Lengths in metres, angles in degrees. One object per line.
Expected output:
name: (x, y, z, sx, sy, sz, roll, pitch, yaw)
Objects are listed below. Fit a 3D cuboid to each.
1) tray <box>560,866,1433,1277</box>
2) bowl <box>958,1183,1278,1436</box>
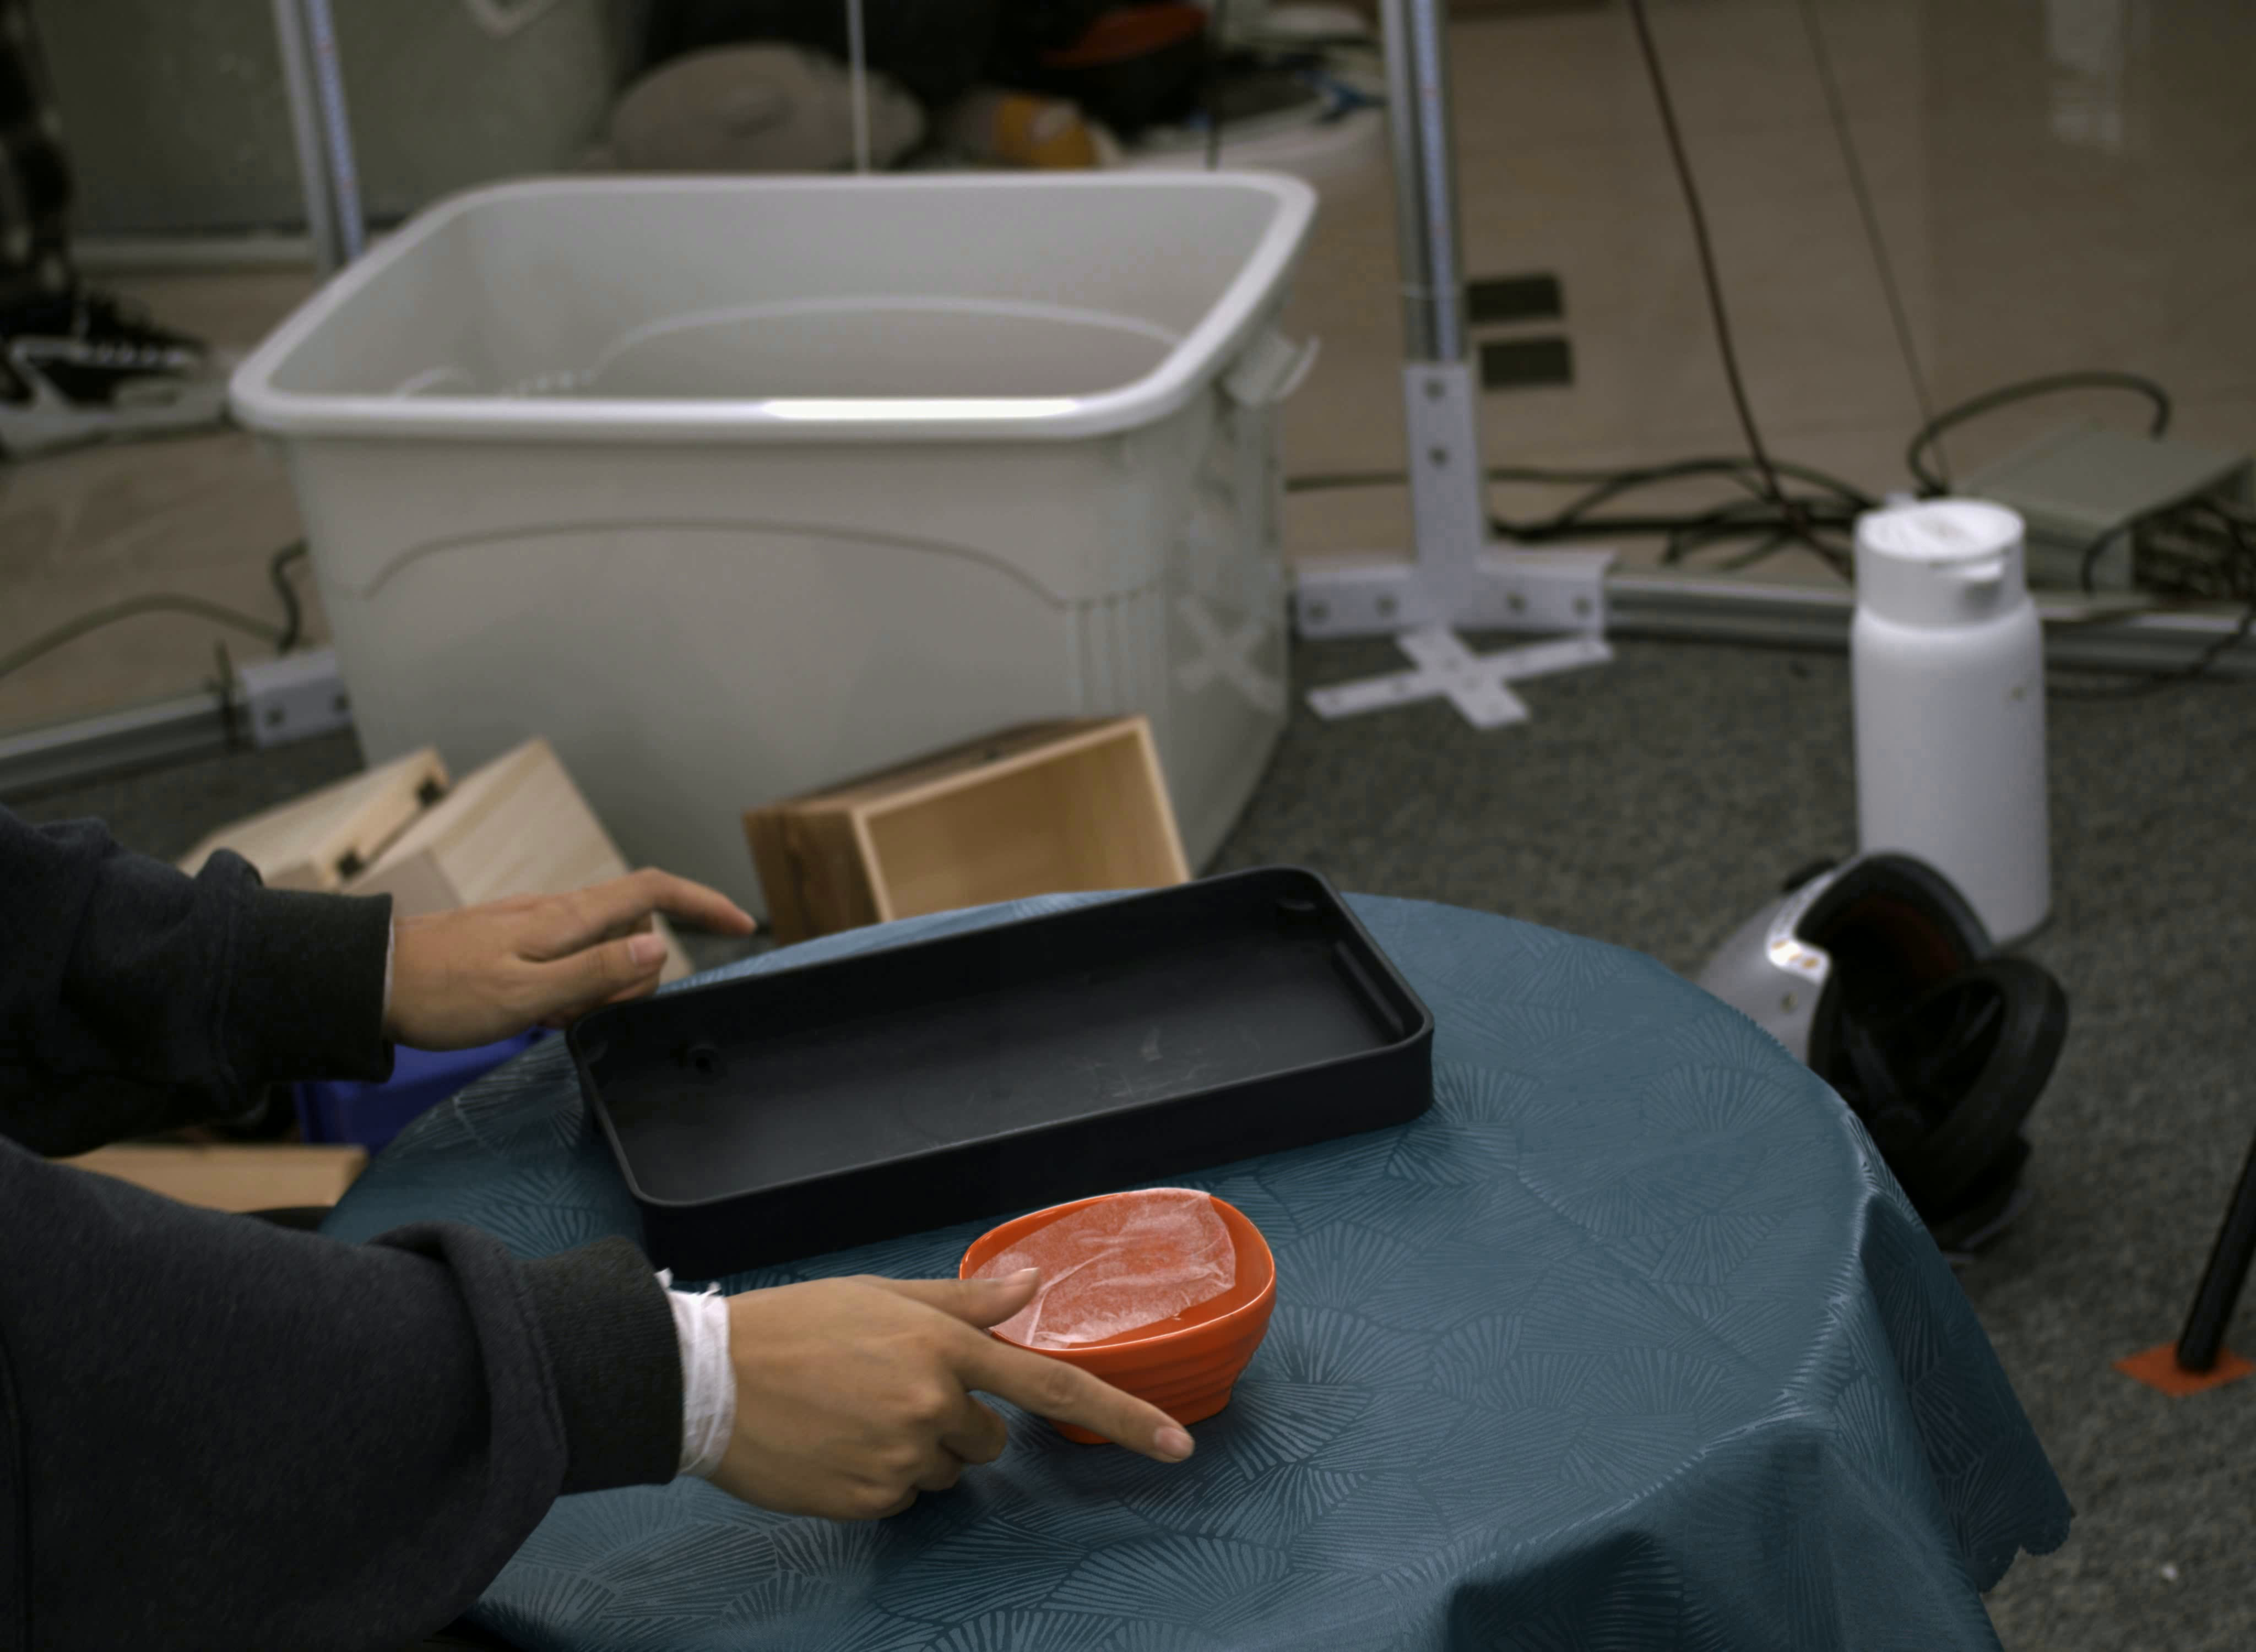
tray: (-0.053, 0.093, 2.214, 0.317, 0.037, 0.182, -11, 25, -12)
bowl: (-0.003, 0.175, 2.003, 0.119, 0.052, 0.117, -3, 25, 2)
